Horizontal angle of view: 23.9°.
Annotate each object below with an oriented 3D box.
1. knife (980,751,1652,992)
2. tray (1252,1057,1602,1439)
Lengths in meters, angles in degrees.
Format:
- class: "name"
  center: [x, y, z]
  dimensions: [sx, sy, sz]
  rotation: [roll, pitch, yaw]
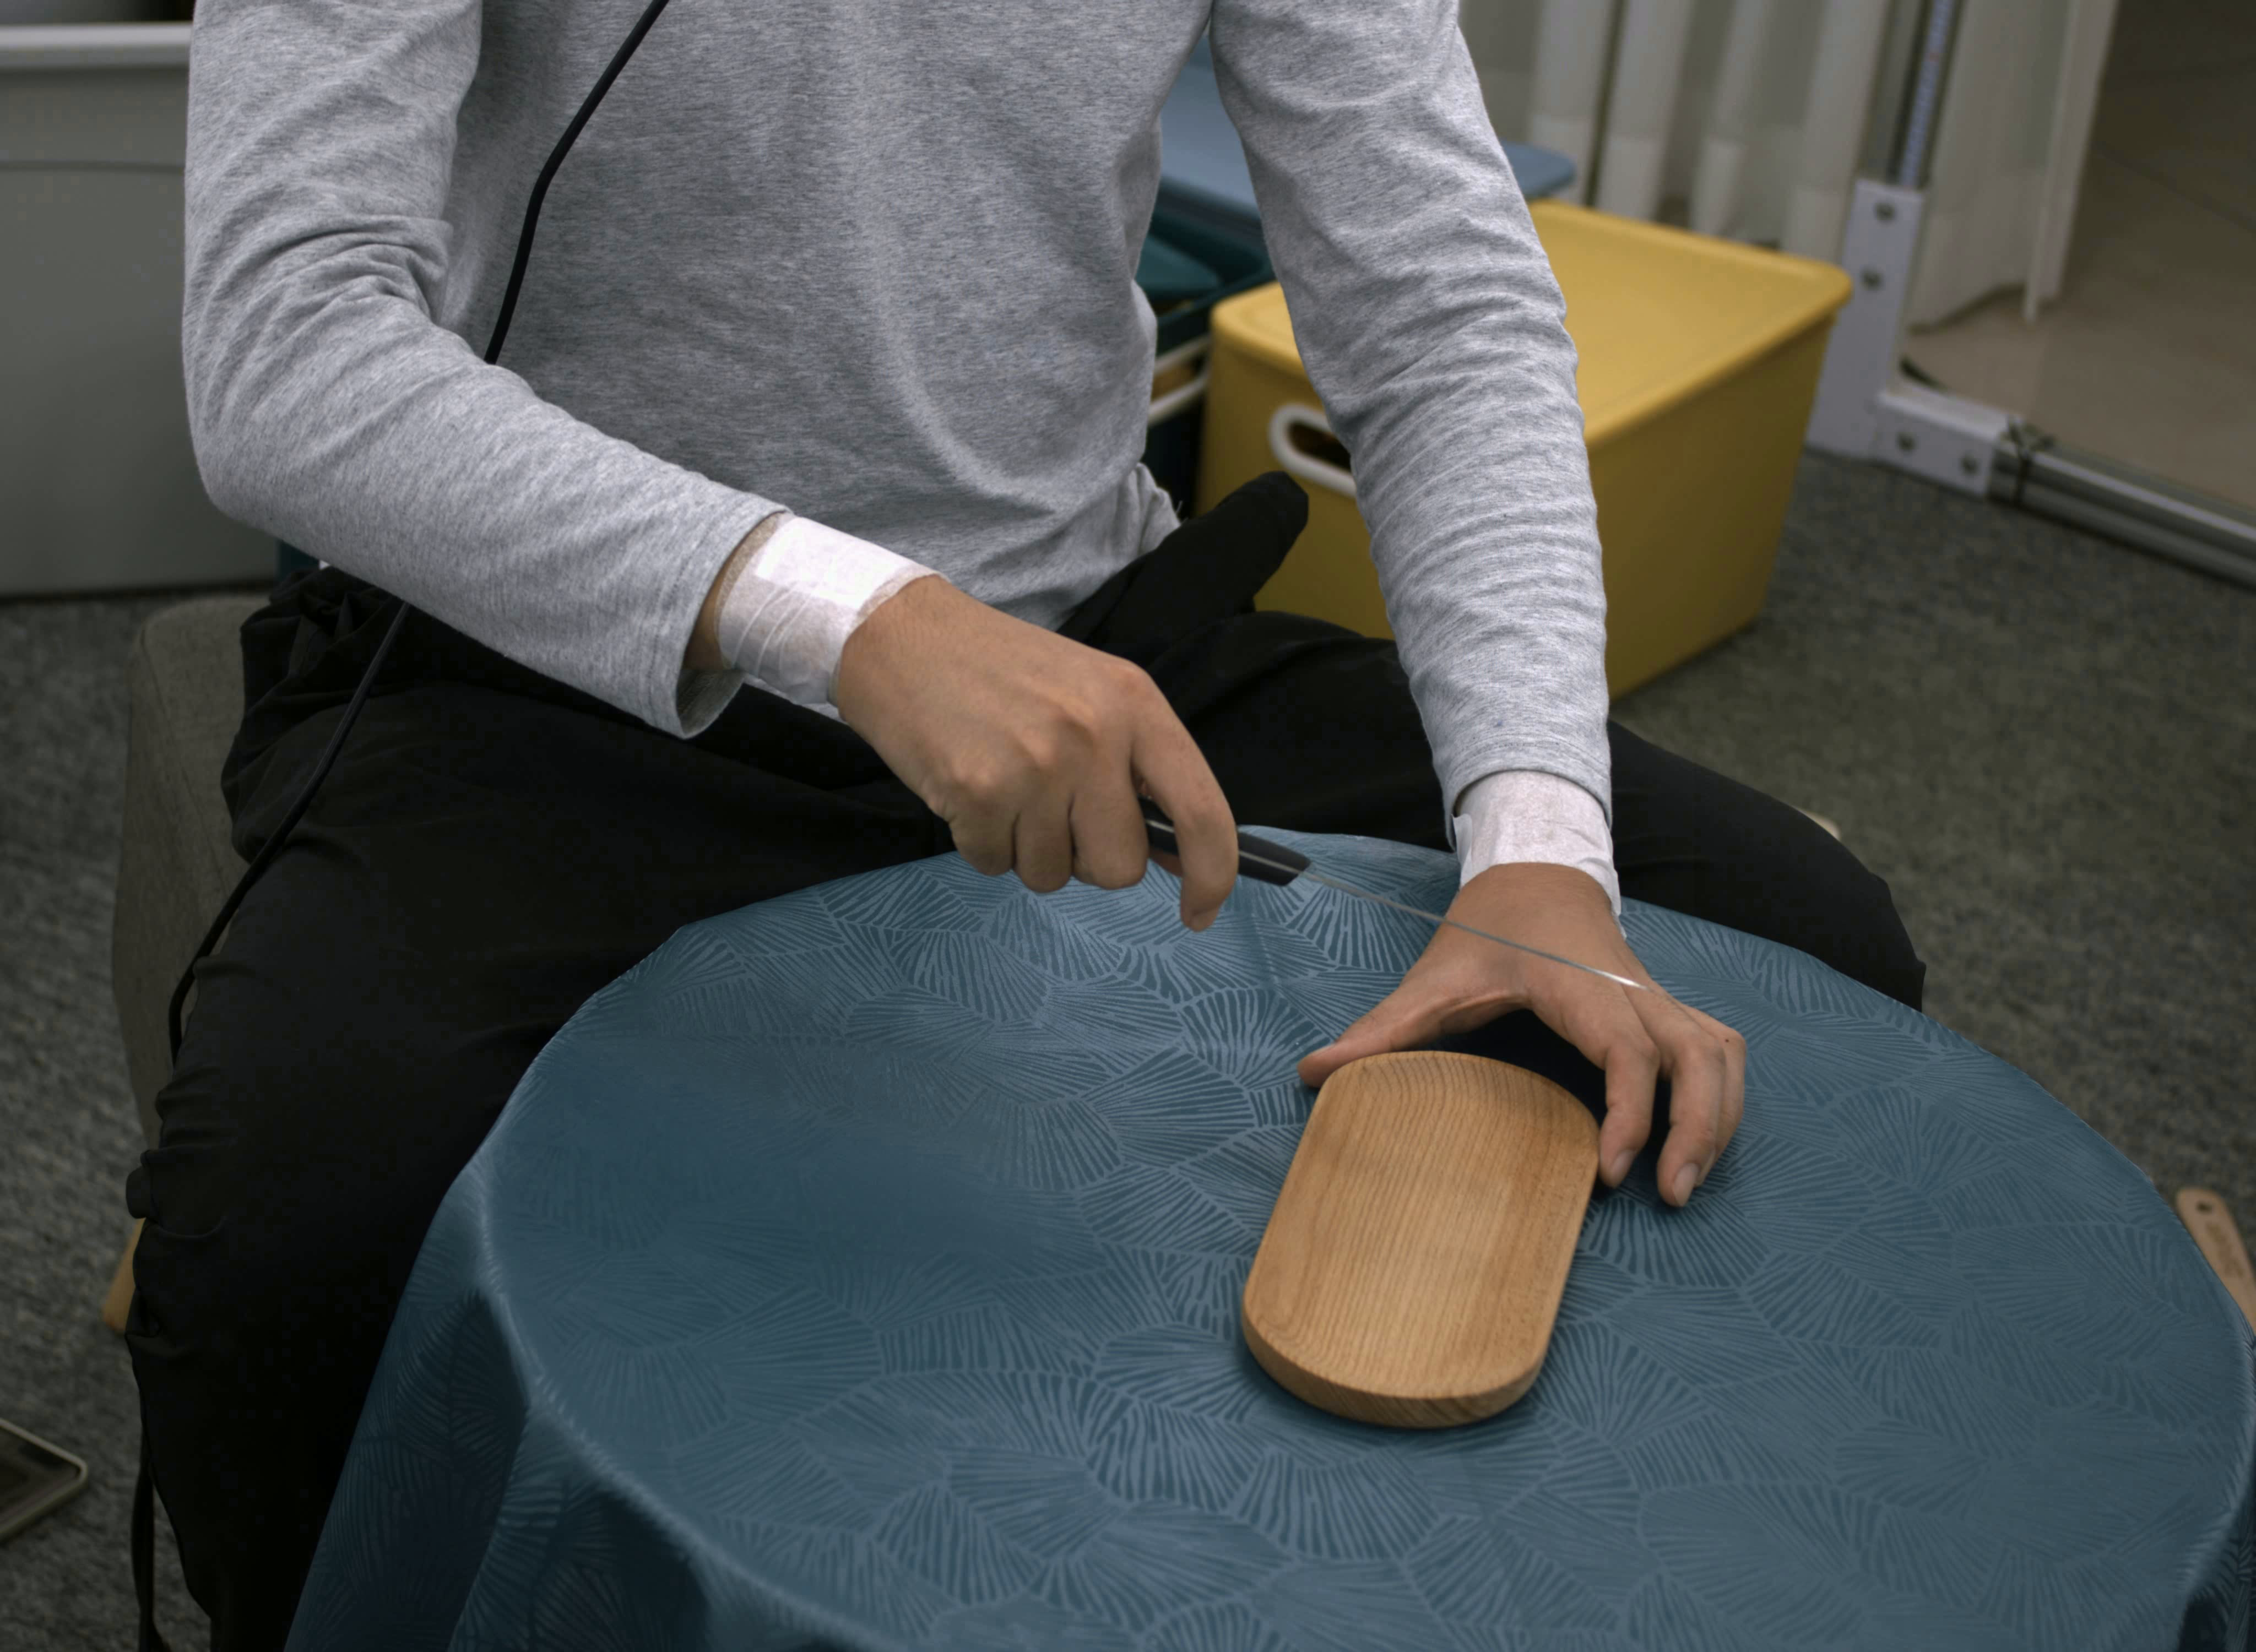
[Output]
- class: "knife"
  center: [0.063, 0.018, 1.786]
  dimensions: [0.238, 0.016, 0.024]
  rotation: [19, 0, 2]
- class: "tray"
  center: [0.102, 0.139, 1.782]
  dimensions: [0.101, 0.020, 0.232]
  rotation: [8, 28, 8]
